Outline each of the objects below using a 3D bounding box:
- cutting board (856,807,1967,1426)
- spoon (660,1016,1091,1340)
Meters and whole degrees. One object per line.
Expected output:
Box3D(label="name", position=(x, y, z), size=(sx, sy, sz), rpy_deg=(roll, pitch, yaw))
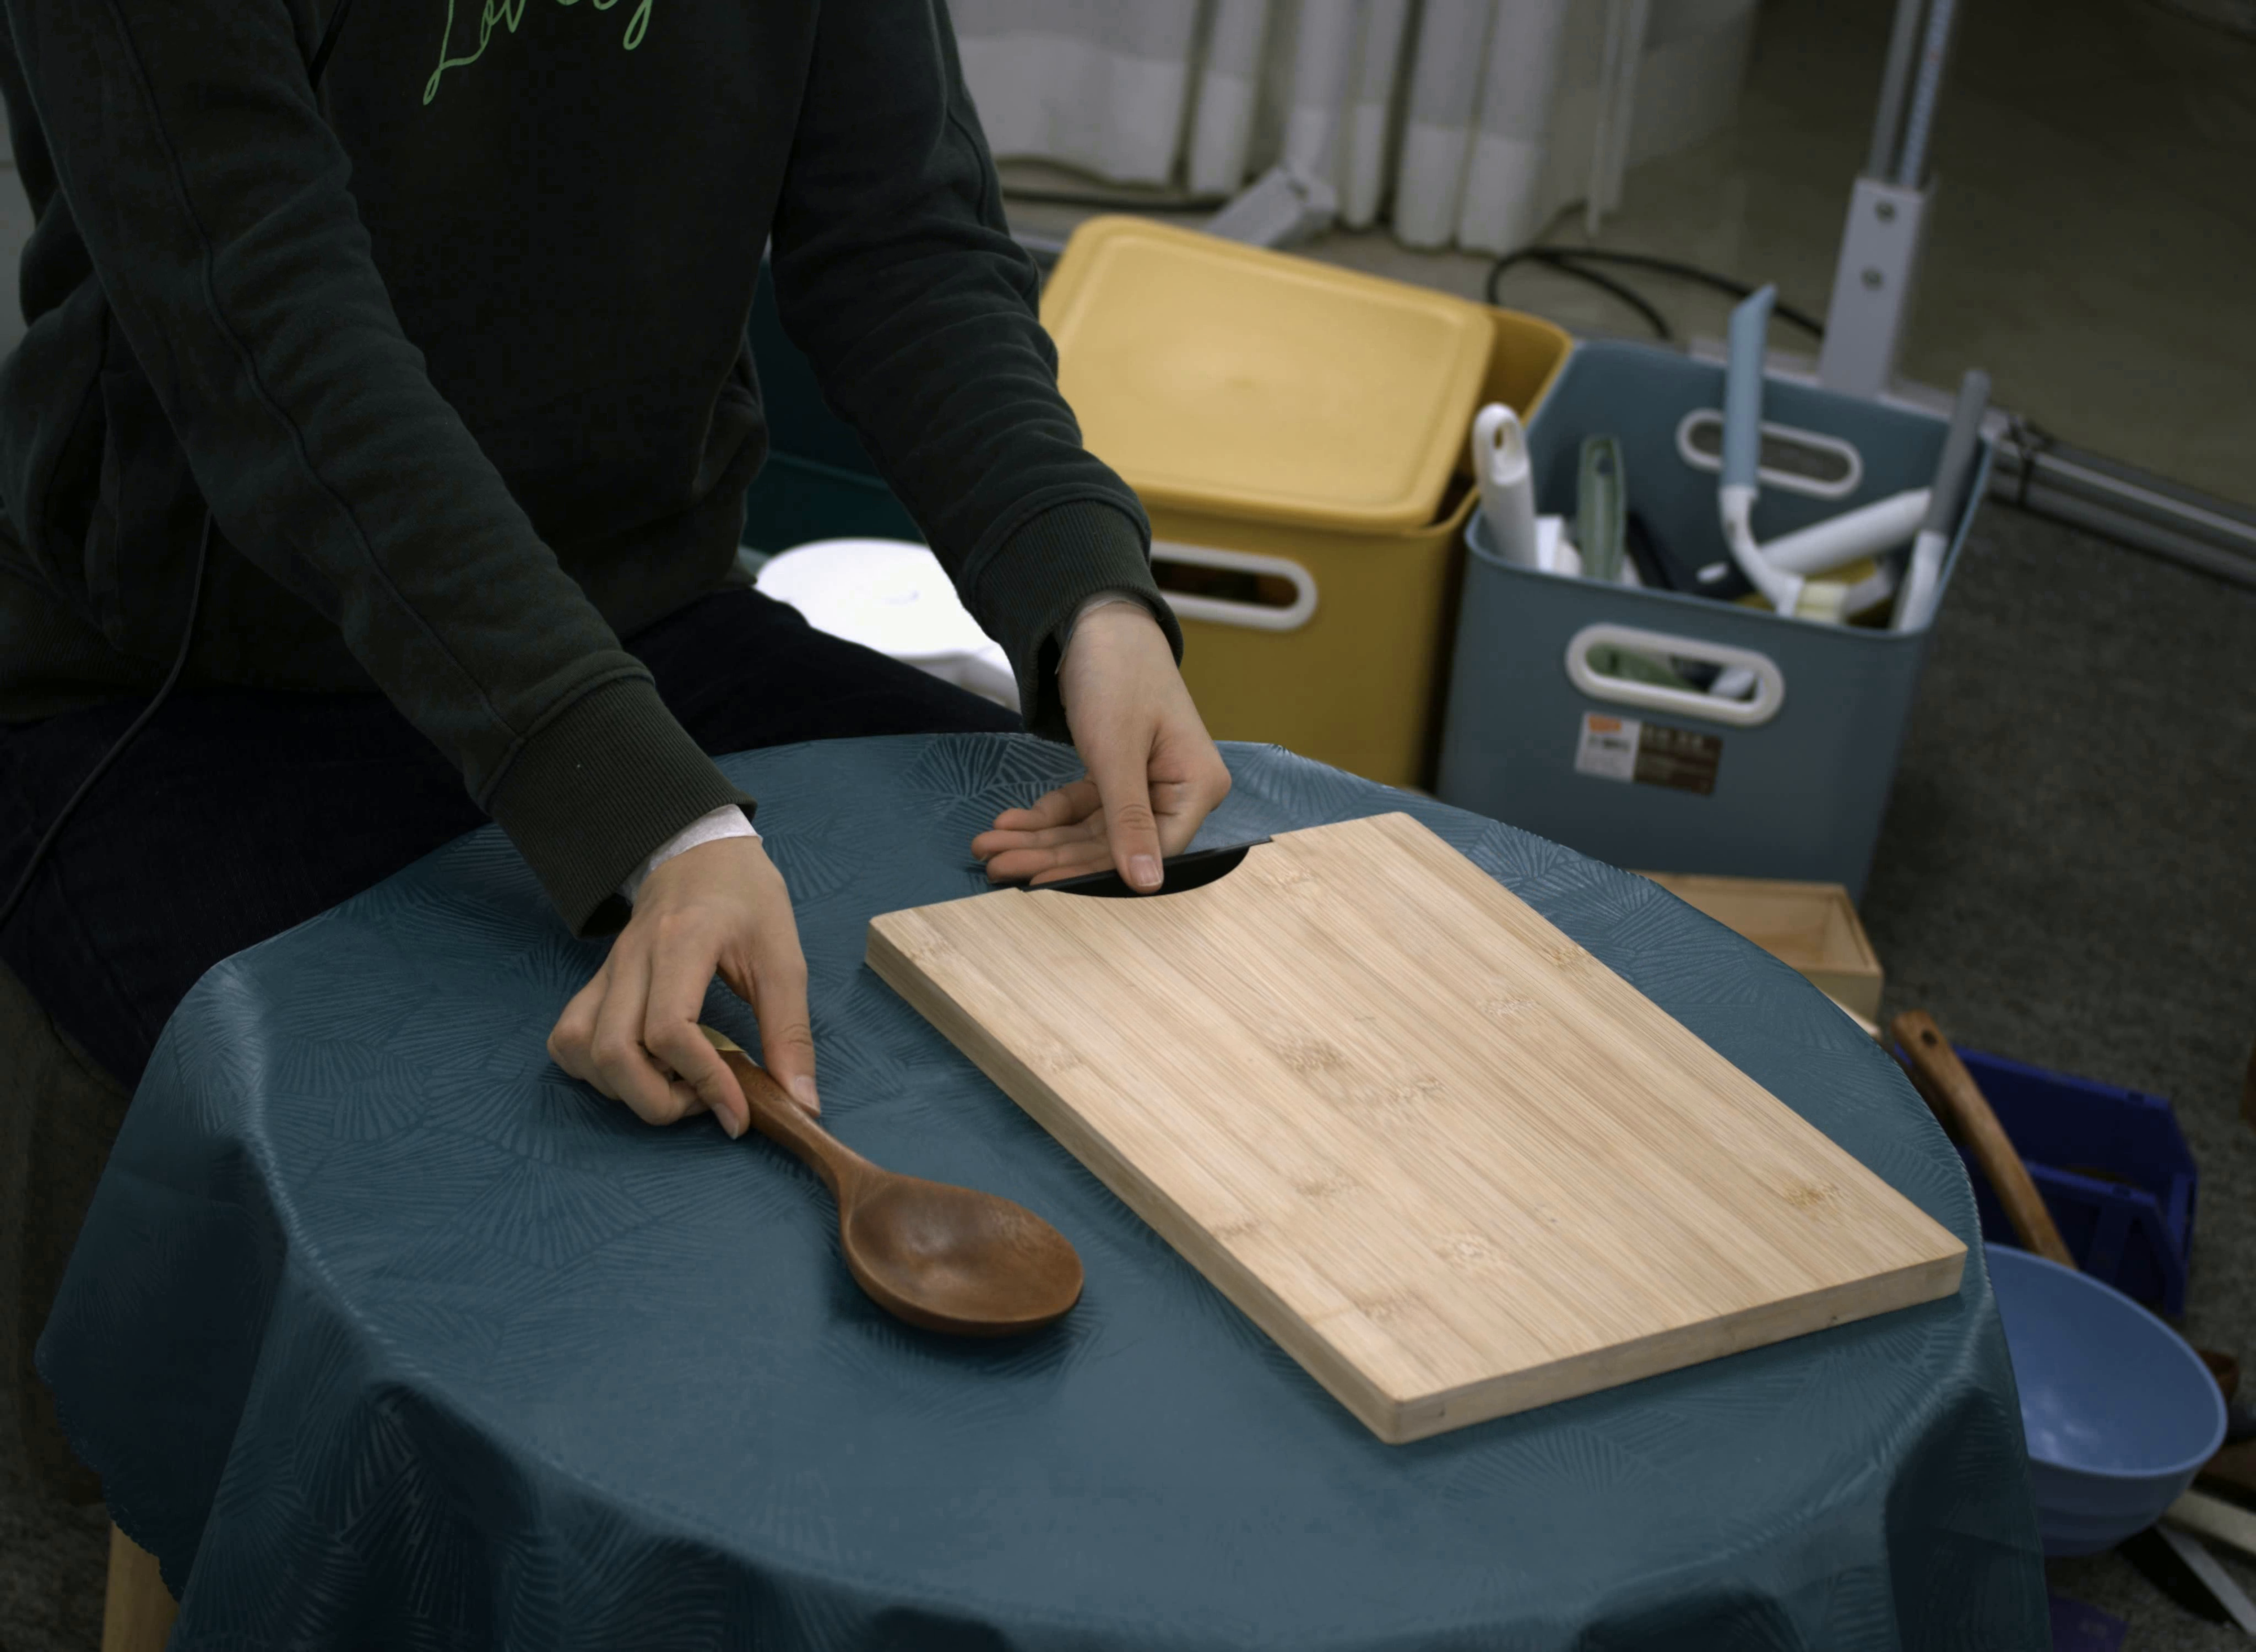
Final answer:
Box3D(label="cutting board", position=(0.092, 0.094, 1.863), size=(0.249, 0.023, 0.352), rpy_deg=(-11, 31, -32))
Box3D(label="spoon", position=(-0.091, 0.117, 1.773), size=(0.075, 0.017, 0.218), rpy_deg=(-16, 35, -34))
